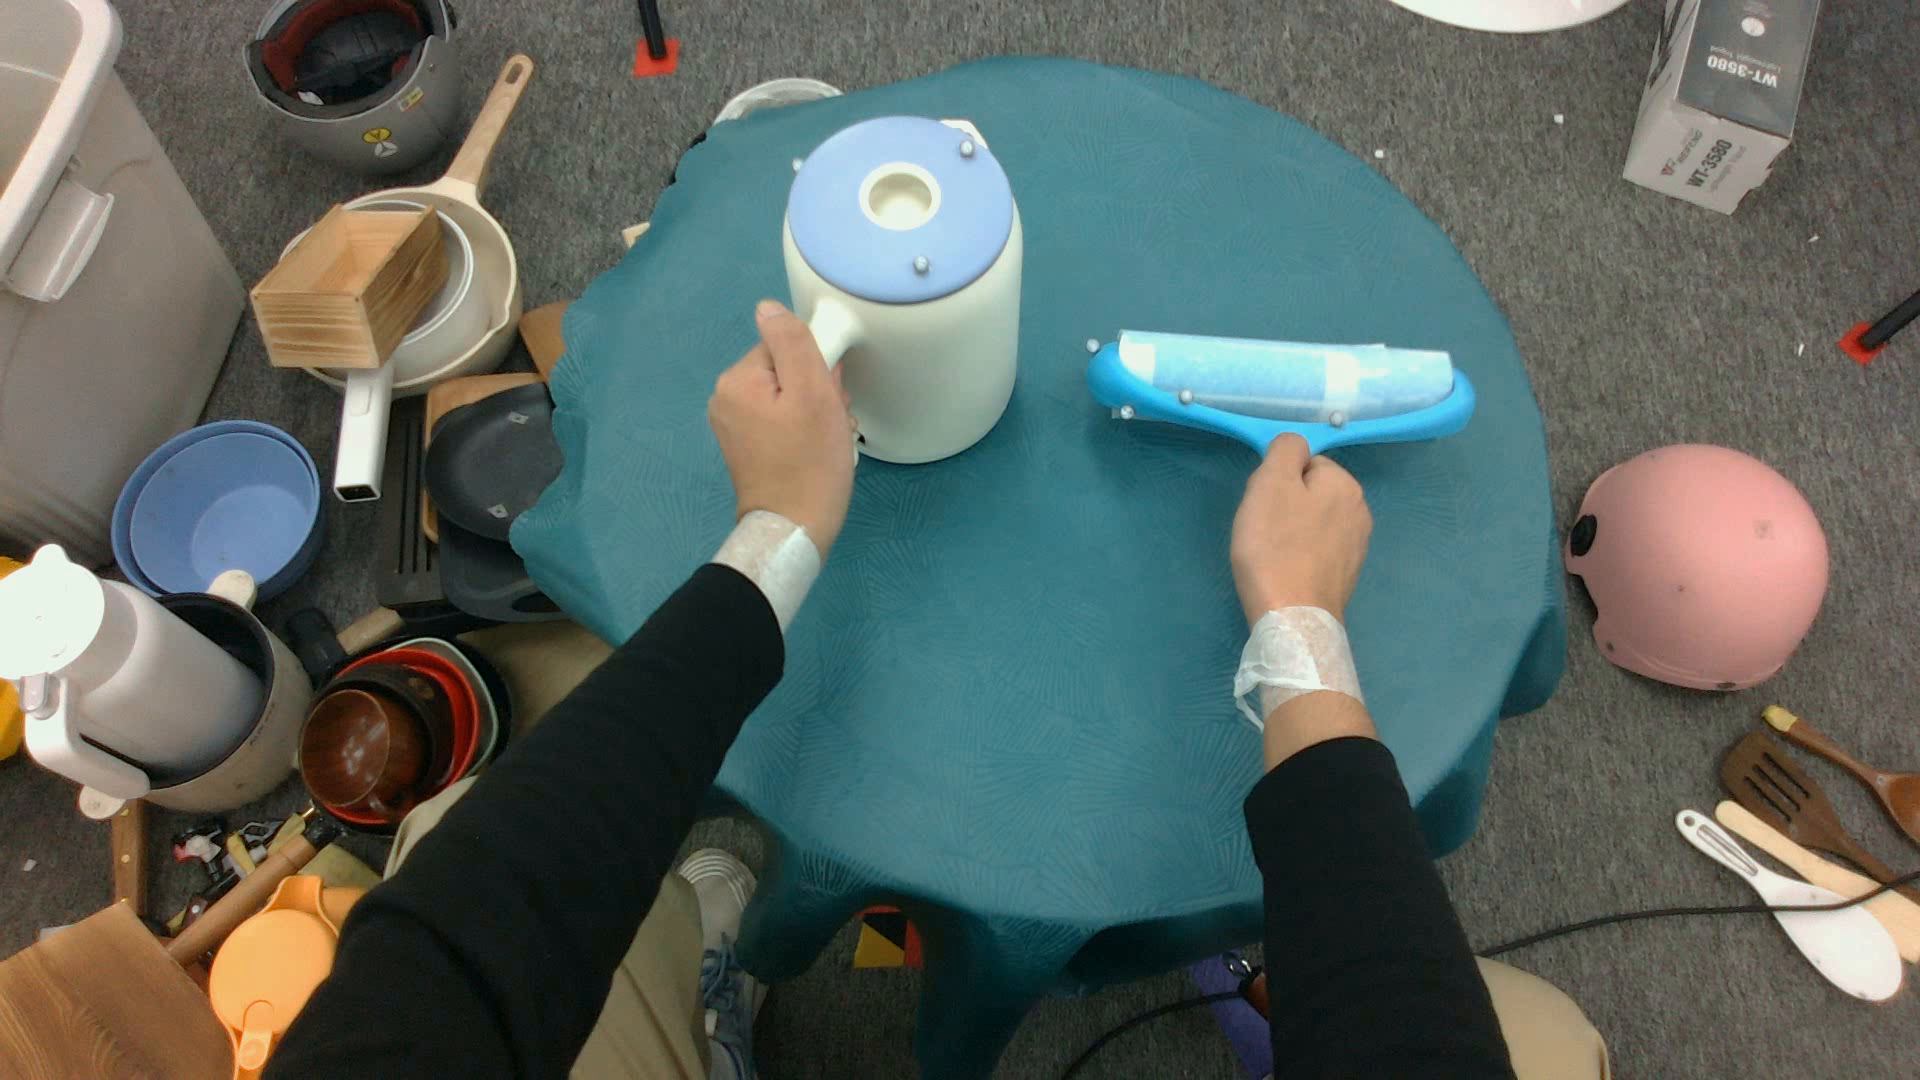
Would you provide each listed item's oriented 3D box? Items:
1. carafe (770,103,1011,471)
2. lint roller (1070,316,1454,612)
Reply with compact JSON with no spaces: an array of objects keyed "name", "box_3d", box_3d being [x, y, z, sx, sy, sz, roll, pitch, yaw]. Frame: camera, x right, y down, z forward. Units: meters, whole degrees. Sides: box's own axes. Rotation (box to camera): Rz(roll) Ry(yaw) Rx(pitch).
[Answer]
[{"name":"carafe","box_3d":[-0.050,-0.128,0.784,0.132,0.182,0.192,27,70,12]},{"name":"lint roller","box_3d":[0.177,-0.051,0.798,0.229,0.067,0.181,4,57,-1]}]
